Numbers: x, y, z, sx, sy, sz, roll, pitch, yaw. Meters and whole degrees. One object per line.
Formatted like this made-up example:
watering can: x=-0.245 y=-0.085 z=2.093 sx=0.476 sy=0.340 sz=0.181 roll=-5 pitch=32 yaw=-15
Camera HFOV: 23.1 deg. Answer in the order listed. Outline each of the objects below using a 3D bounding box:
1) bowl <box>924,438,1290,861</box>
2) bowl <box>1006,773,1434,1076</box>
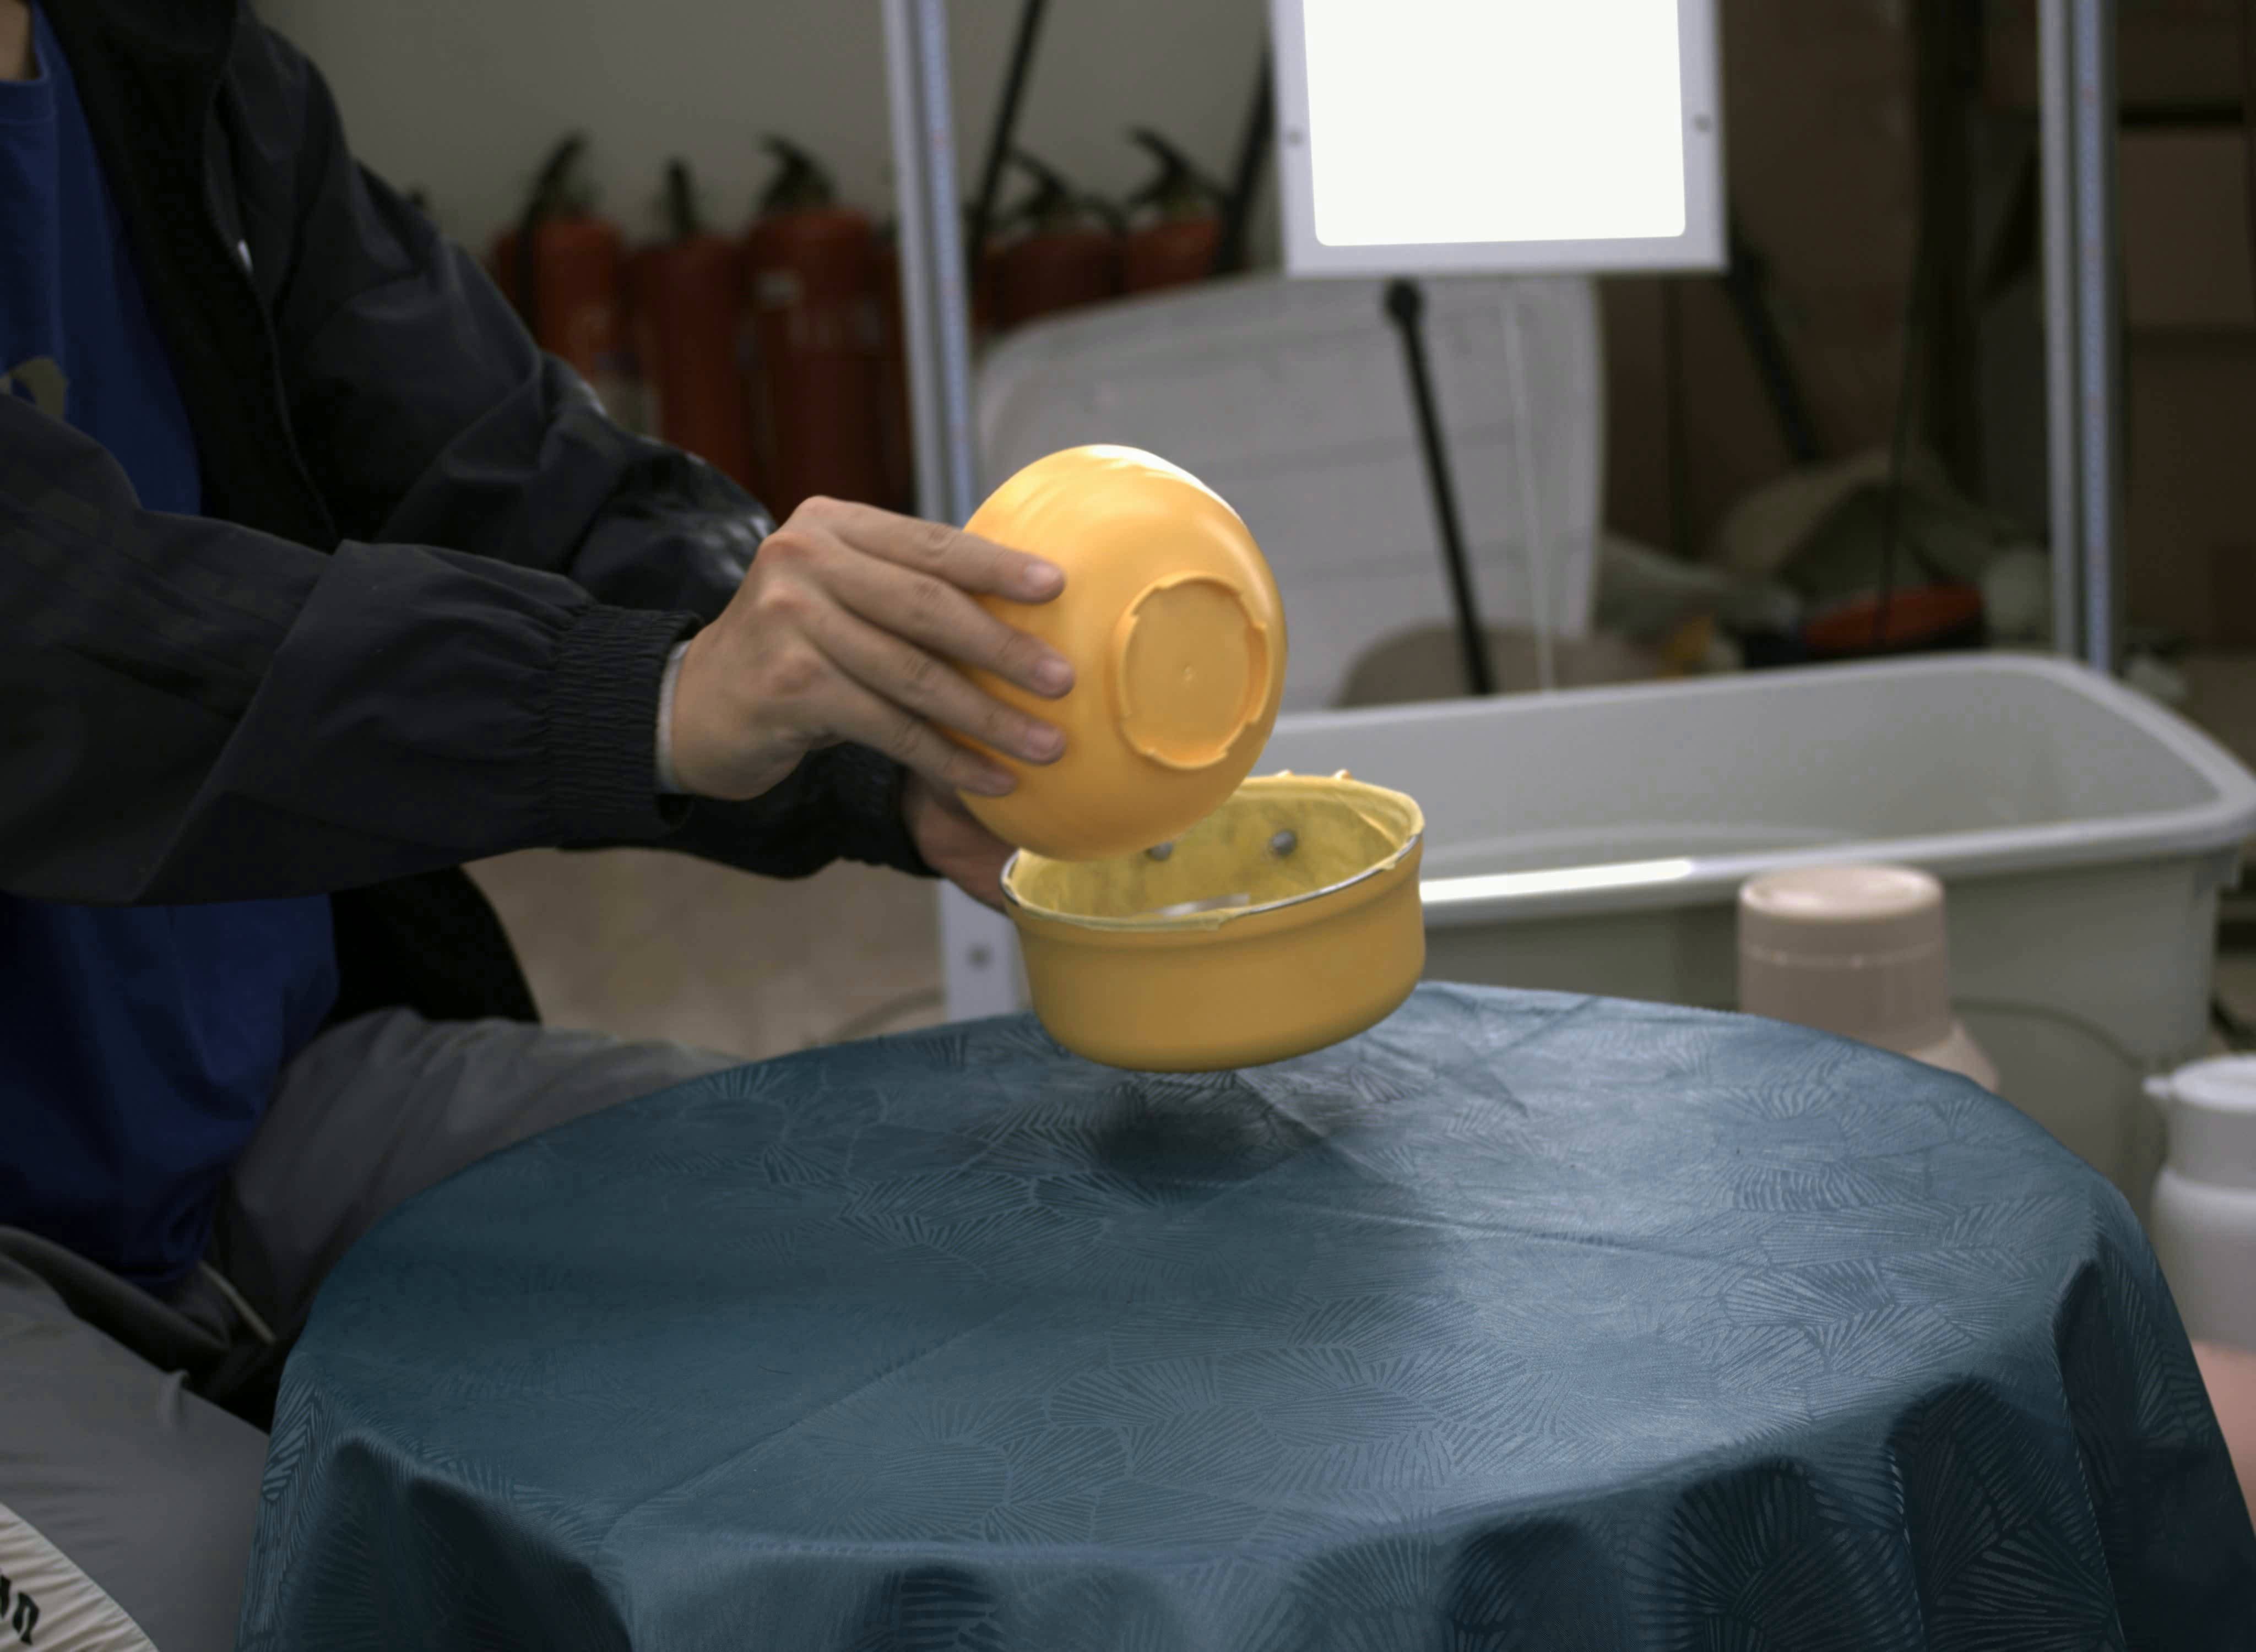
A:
bowl: x=0.006 y=-0.058 z=1.859 sx=0.142 sy=0.146 sz=0.061 roll=-14 pitch=13 yaw=-34
bowl: x=0.043 y=0.034 z=1.968 sx=0.155 sy=0.074 sz=0.176 roll=-3 pitch=20 yaw=24
